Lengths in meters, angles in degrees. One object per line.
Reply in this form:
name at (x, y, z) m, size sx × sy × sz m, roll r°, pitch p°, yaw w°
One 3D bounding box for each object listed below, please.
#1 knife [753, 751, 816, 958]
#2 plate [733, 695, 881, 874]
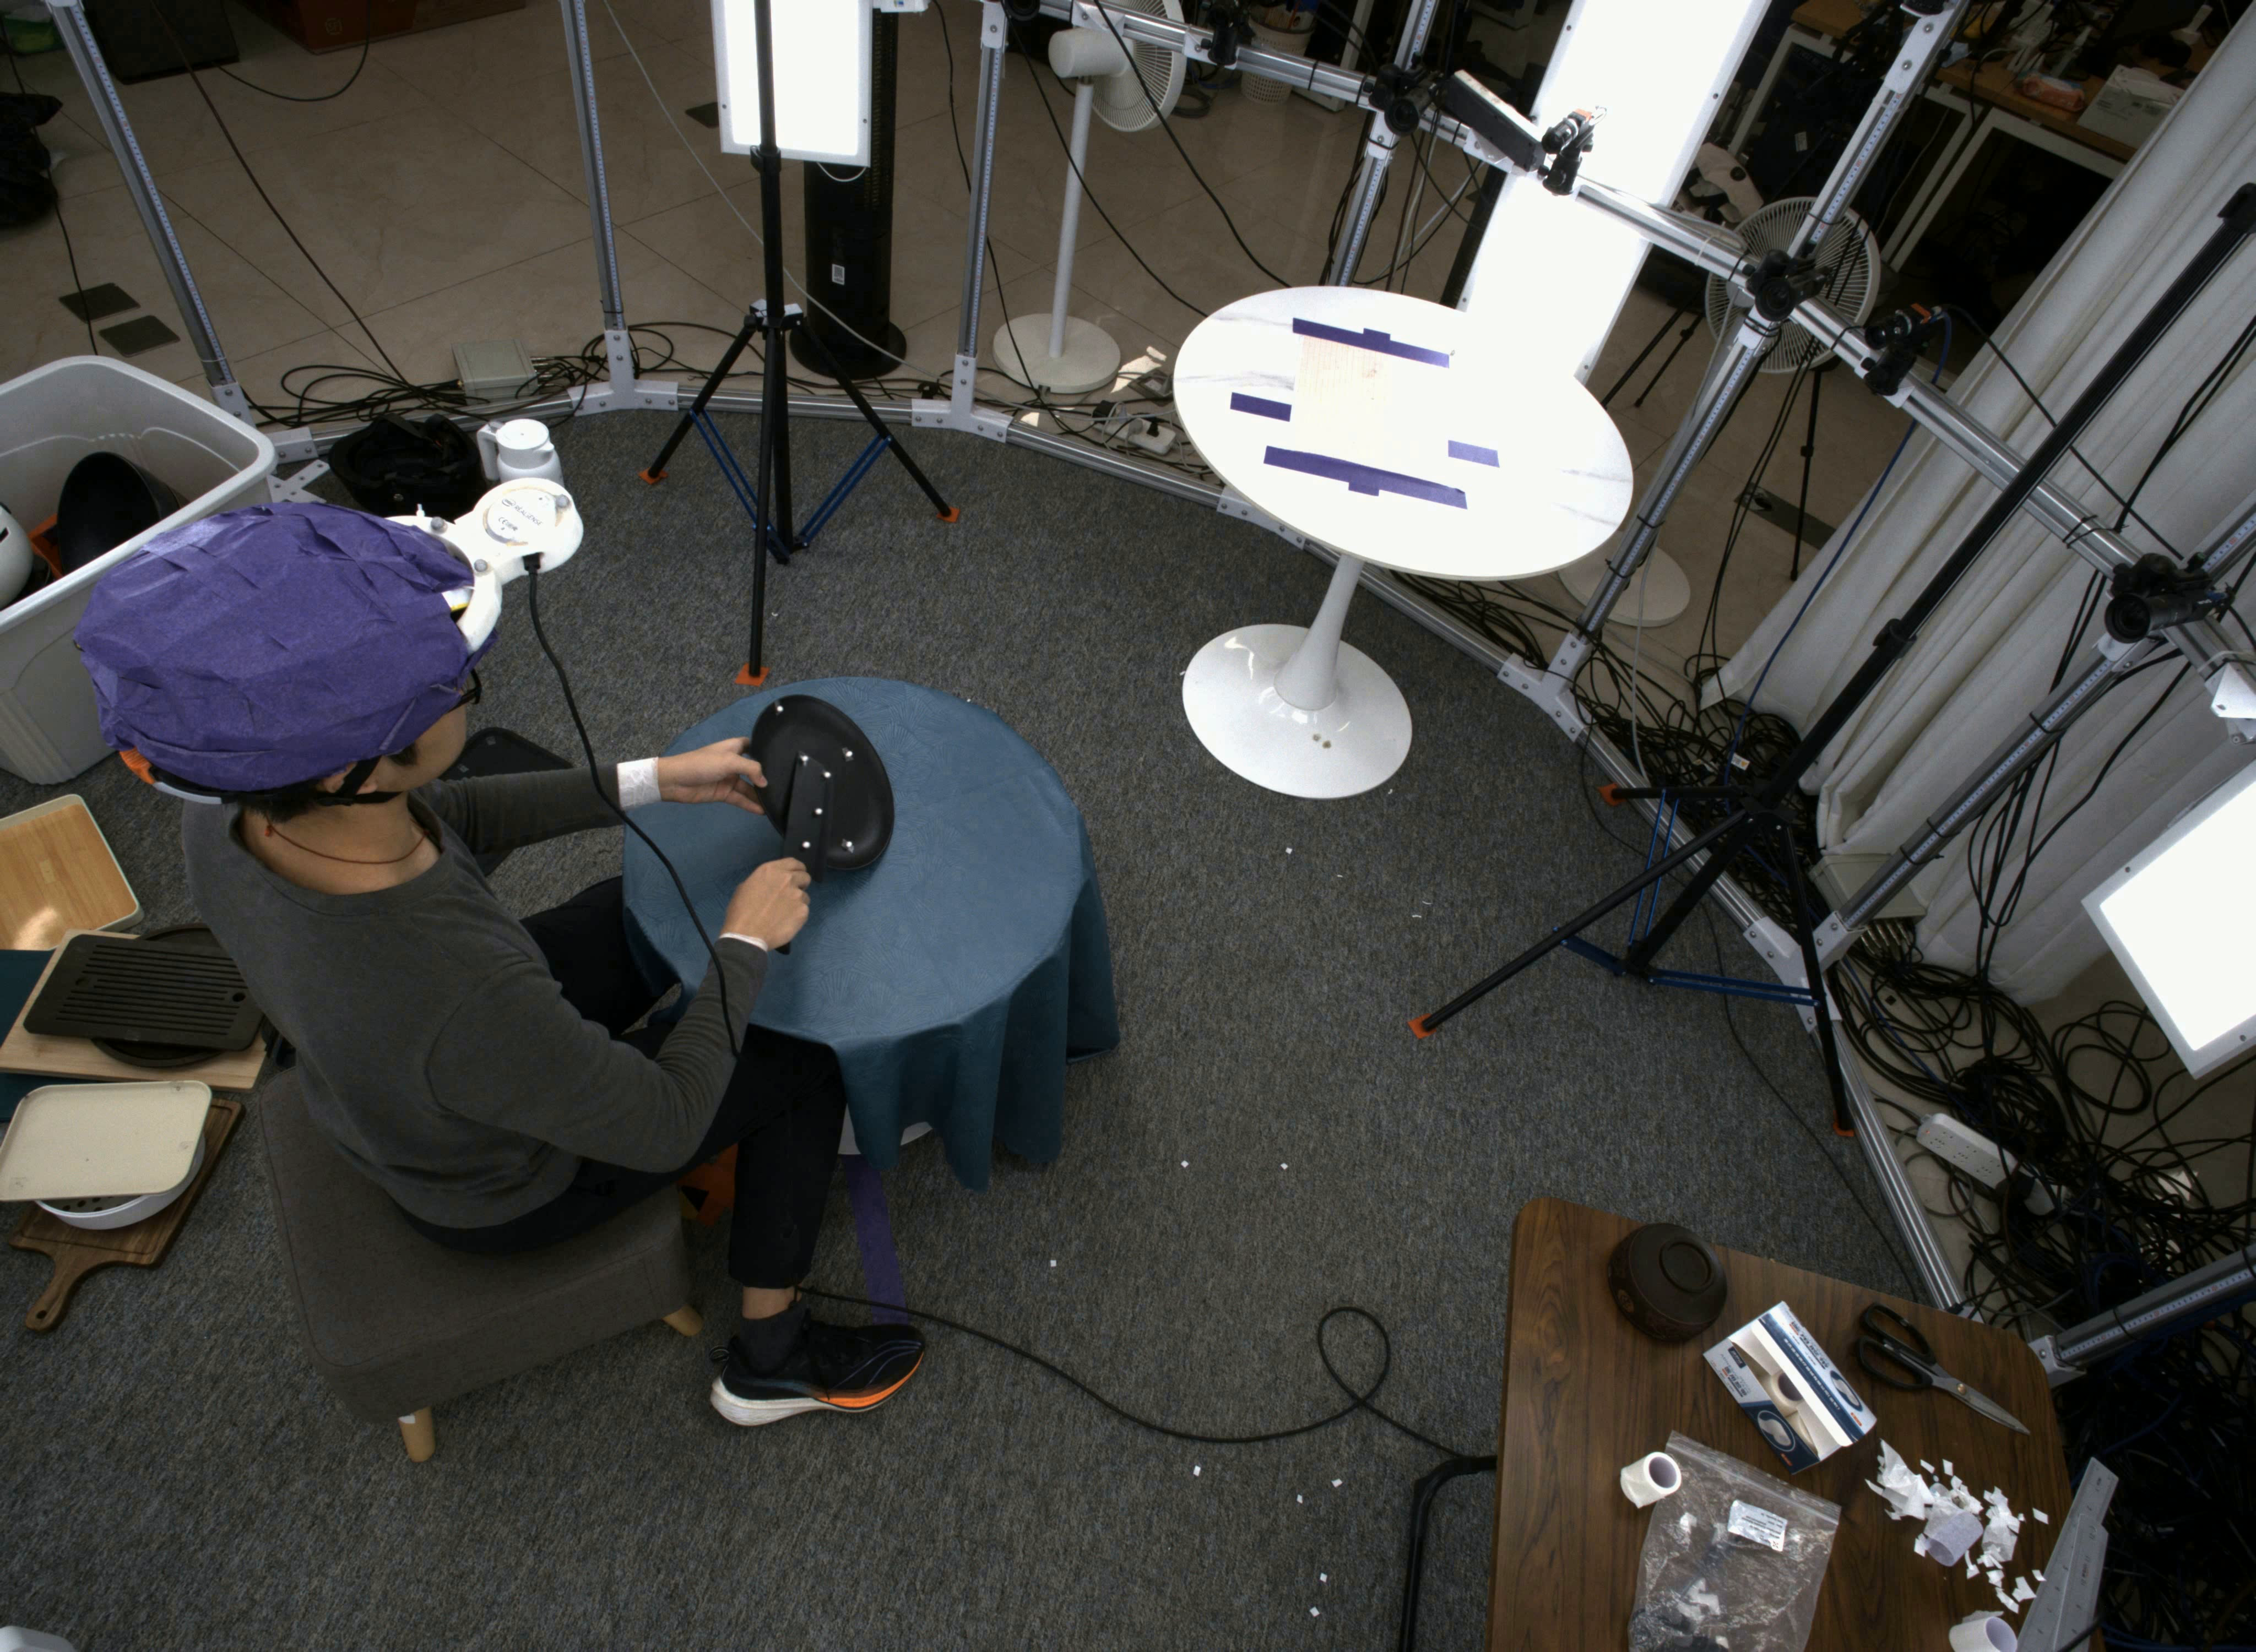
knife at (-0.421, 0.031, 1.592) m, size 0.084 × 0.020 × 0.296 m, roll 41°, pitch 34°, yaw -38°
plate at (-0.417, -0.053, 1.676) m, size 0.253 × 0.023 × 0.240 m, roll 40°, pitch 39°, yaw -40°
